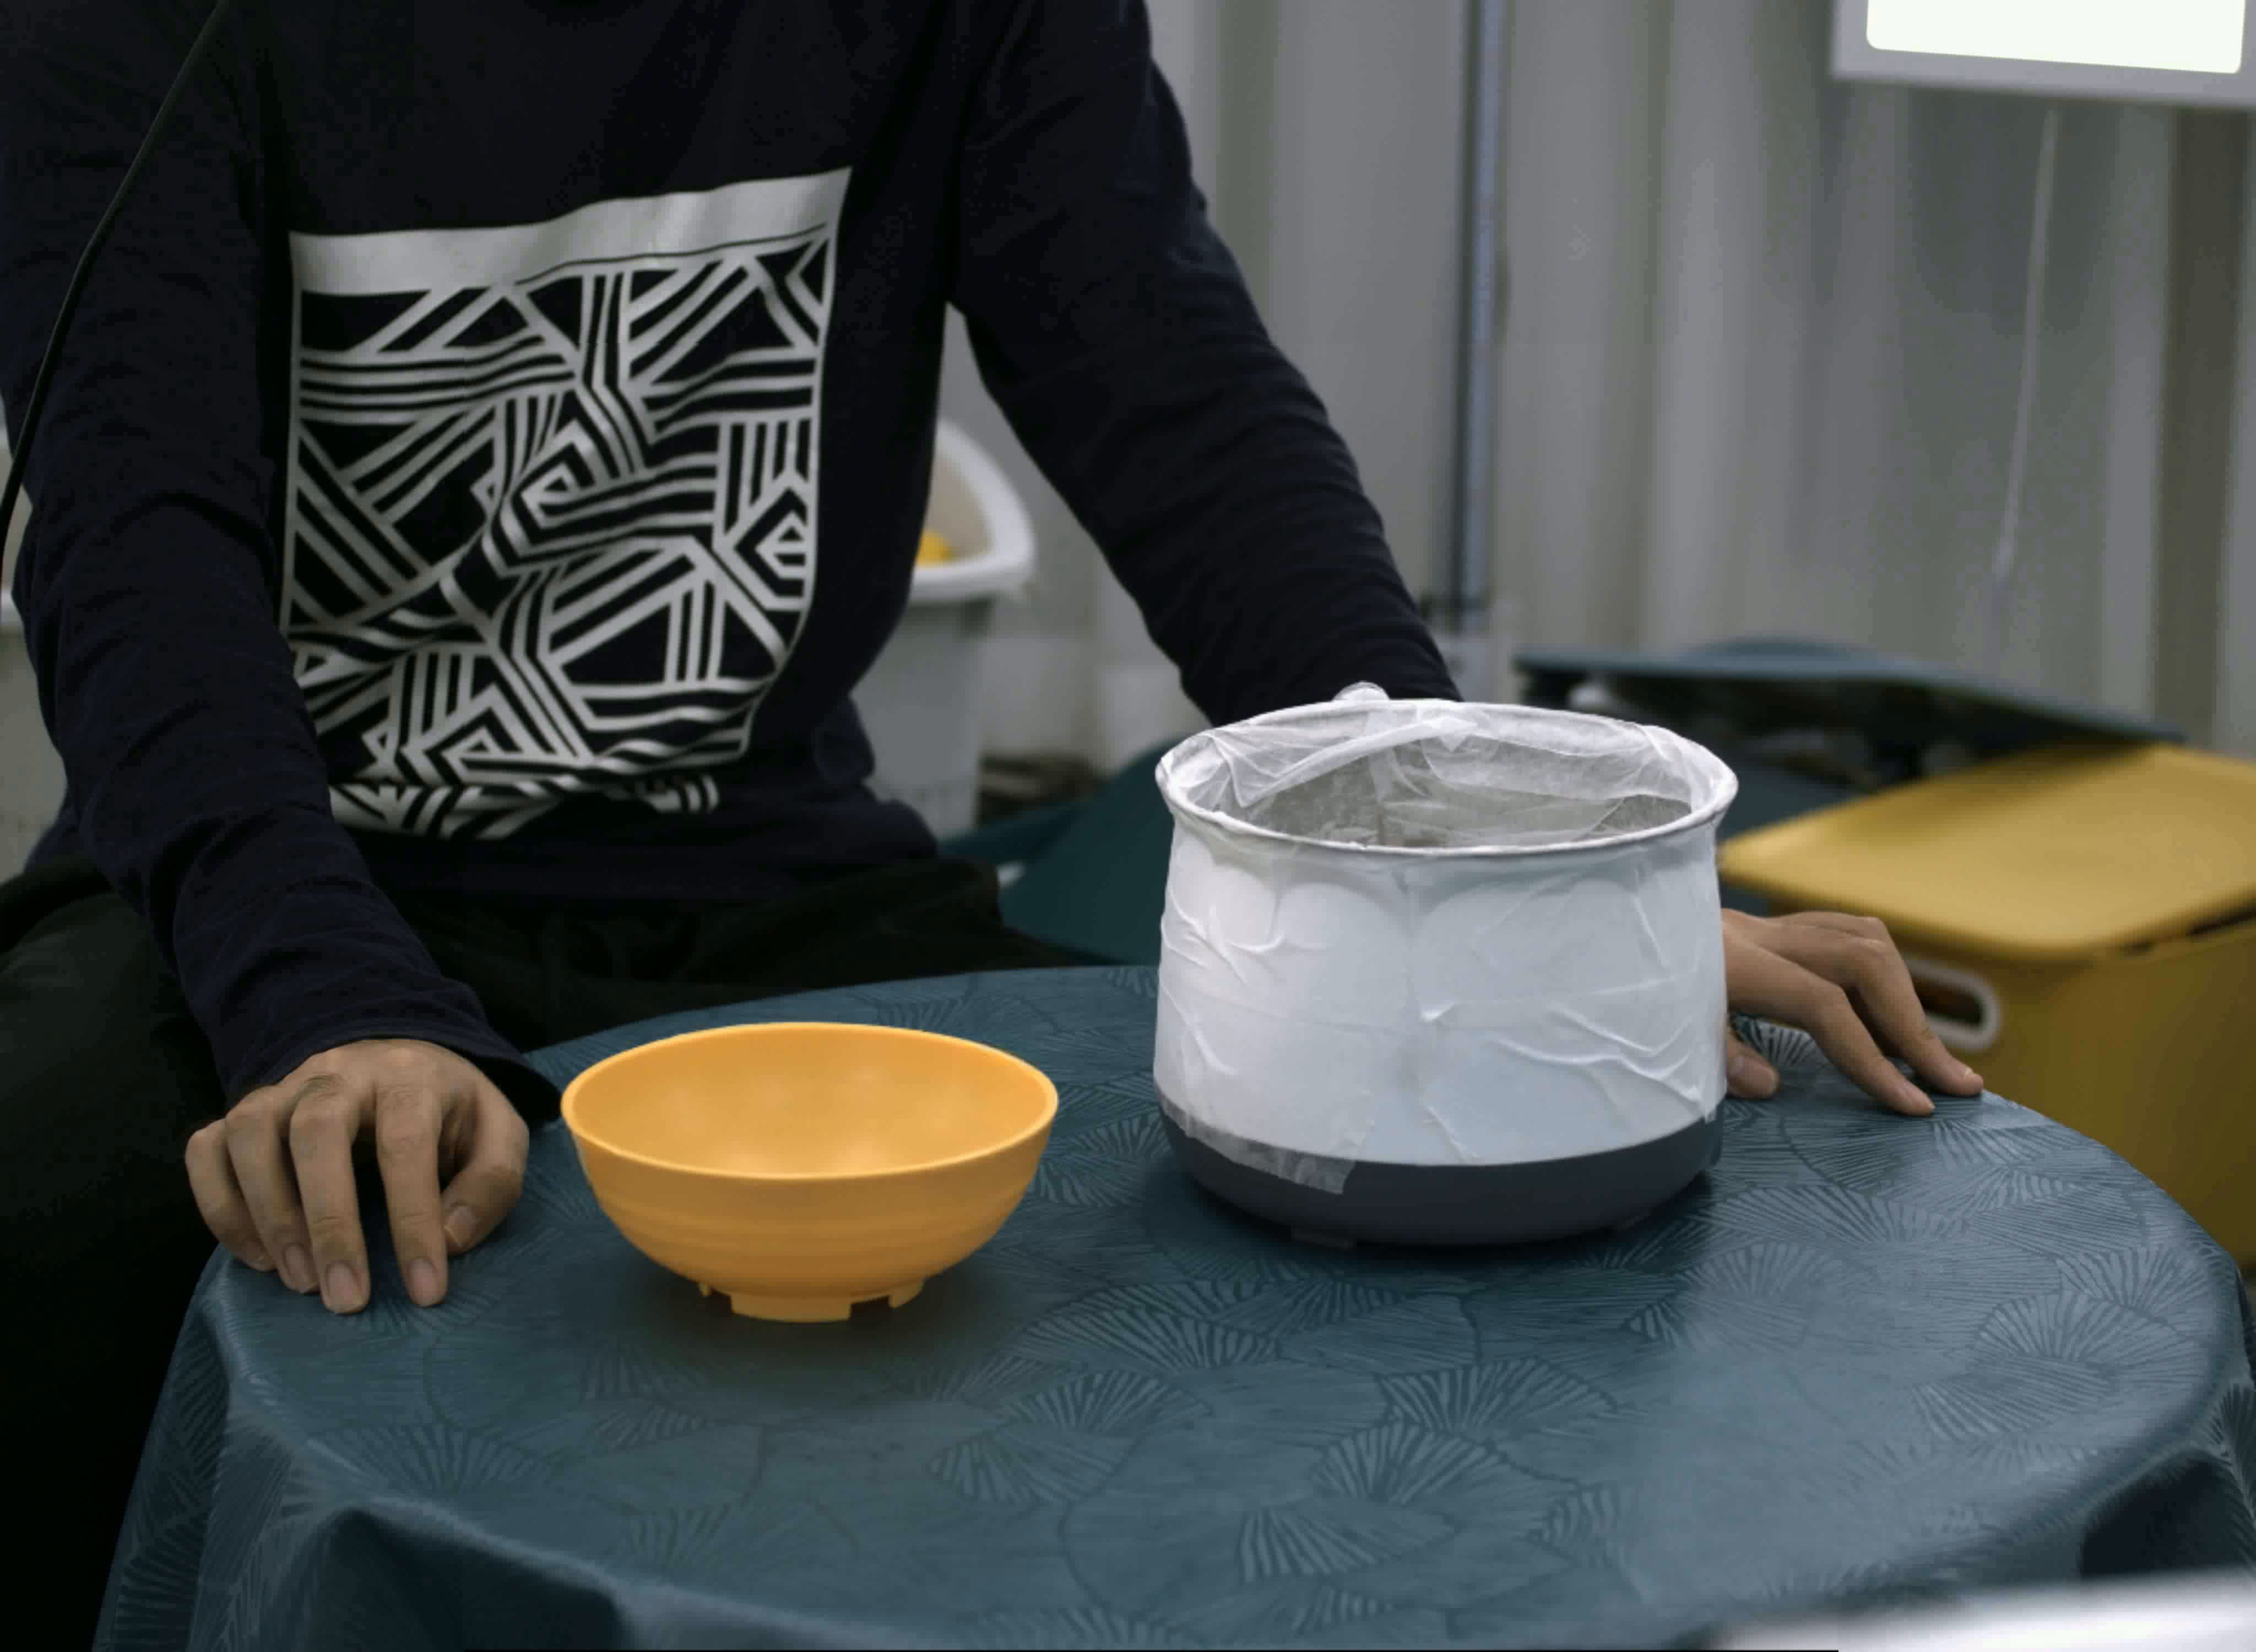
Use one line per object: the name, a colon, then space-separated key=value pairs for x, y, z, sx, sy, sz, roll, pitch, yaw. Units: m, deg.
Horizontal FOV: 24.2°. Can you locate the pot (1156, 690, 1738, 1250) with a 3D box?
pot: x=0.091 y=0.040 z=1.643 sx=0.179 sy=0.137 sz=0.231 roll=-3 pitch=15 yaw=-13

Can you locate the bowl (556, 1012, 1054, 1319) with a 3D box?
bowl: x=-0.094 y=0.104 z=1.533 sx=0.145 sy=0.060 sz=0.144 roll=2 pitch=17 yaw=0
